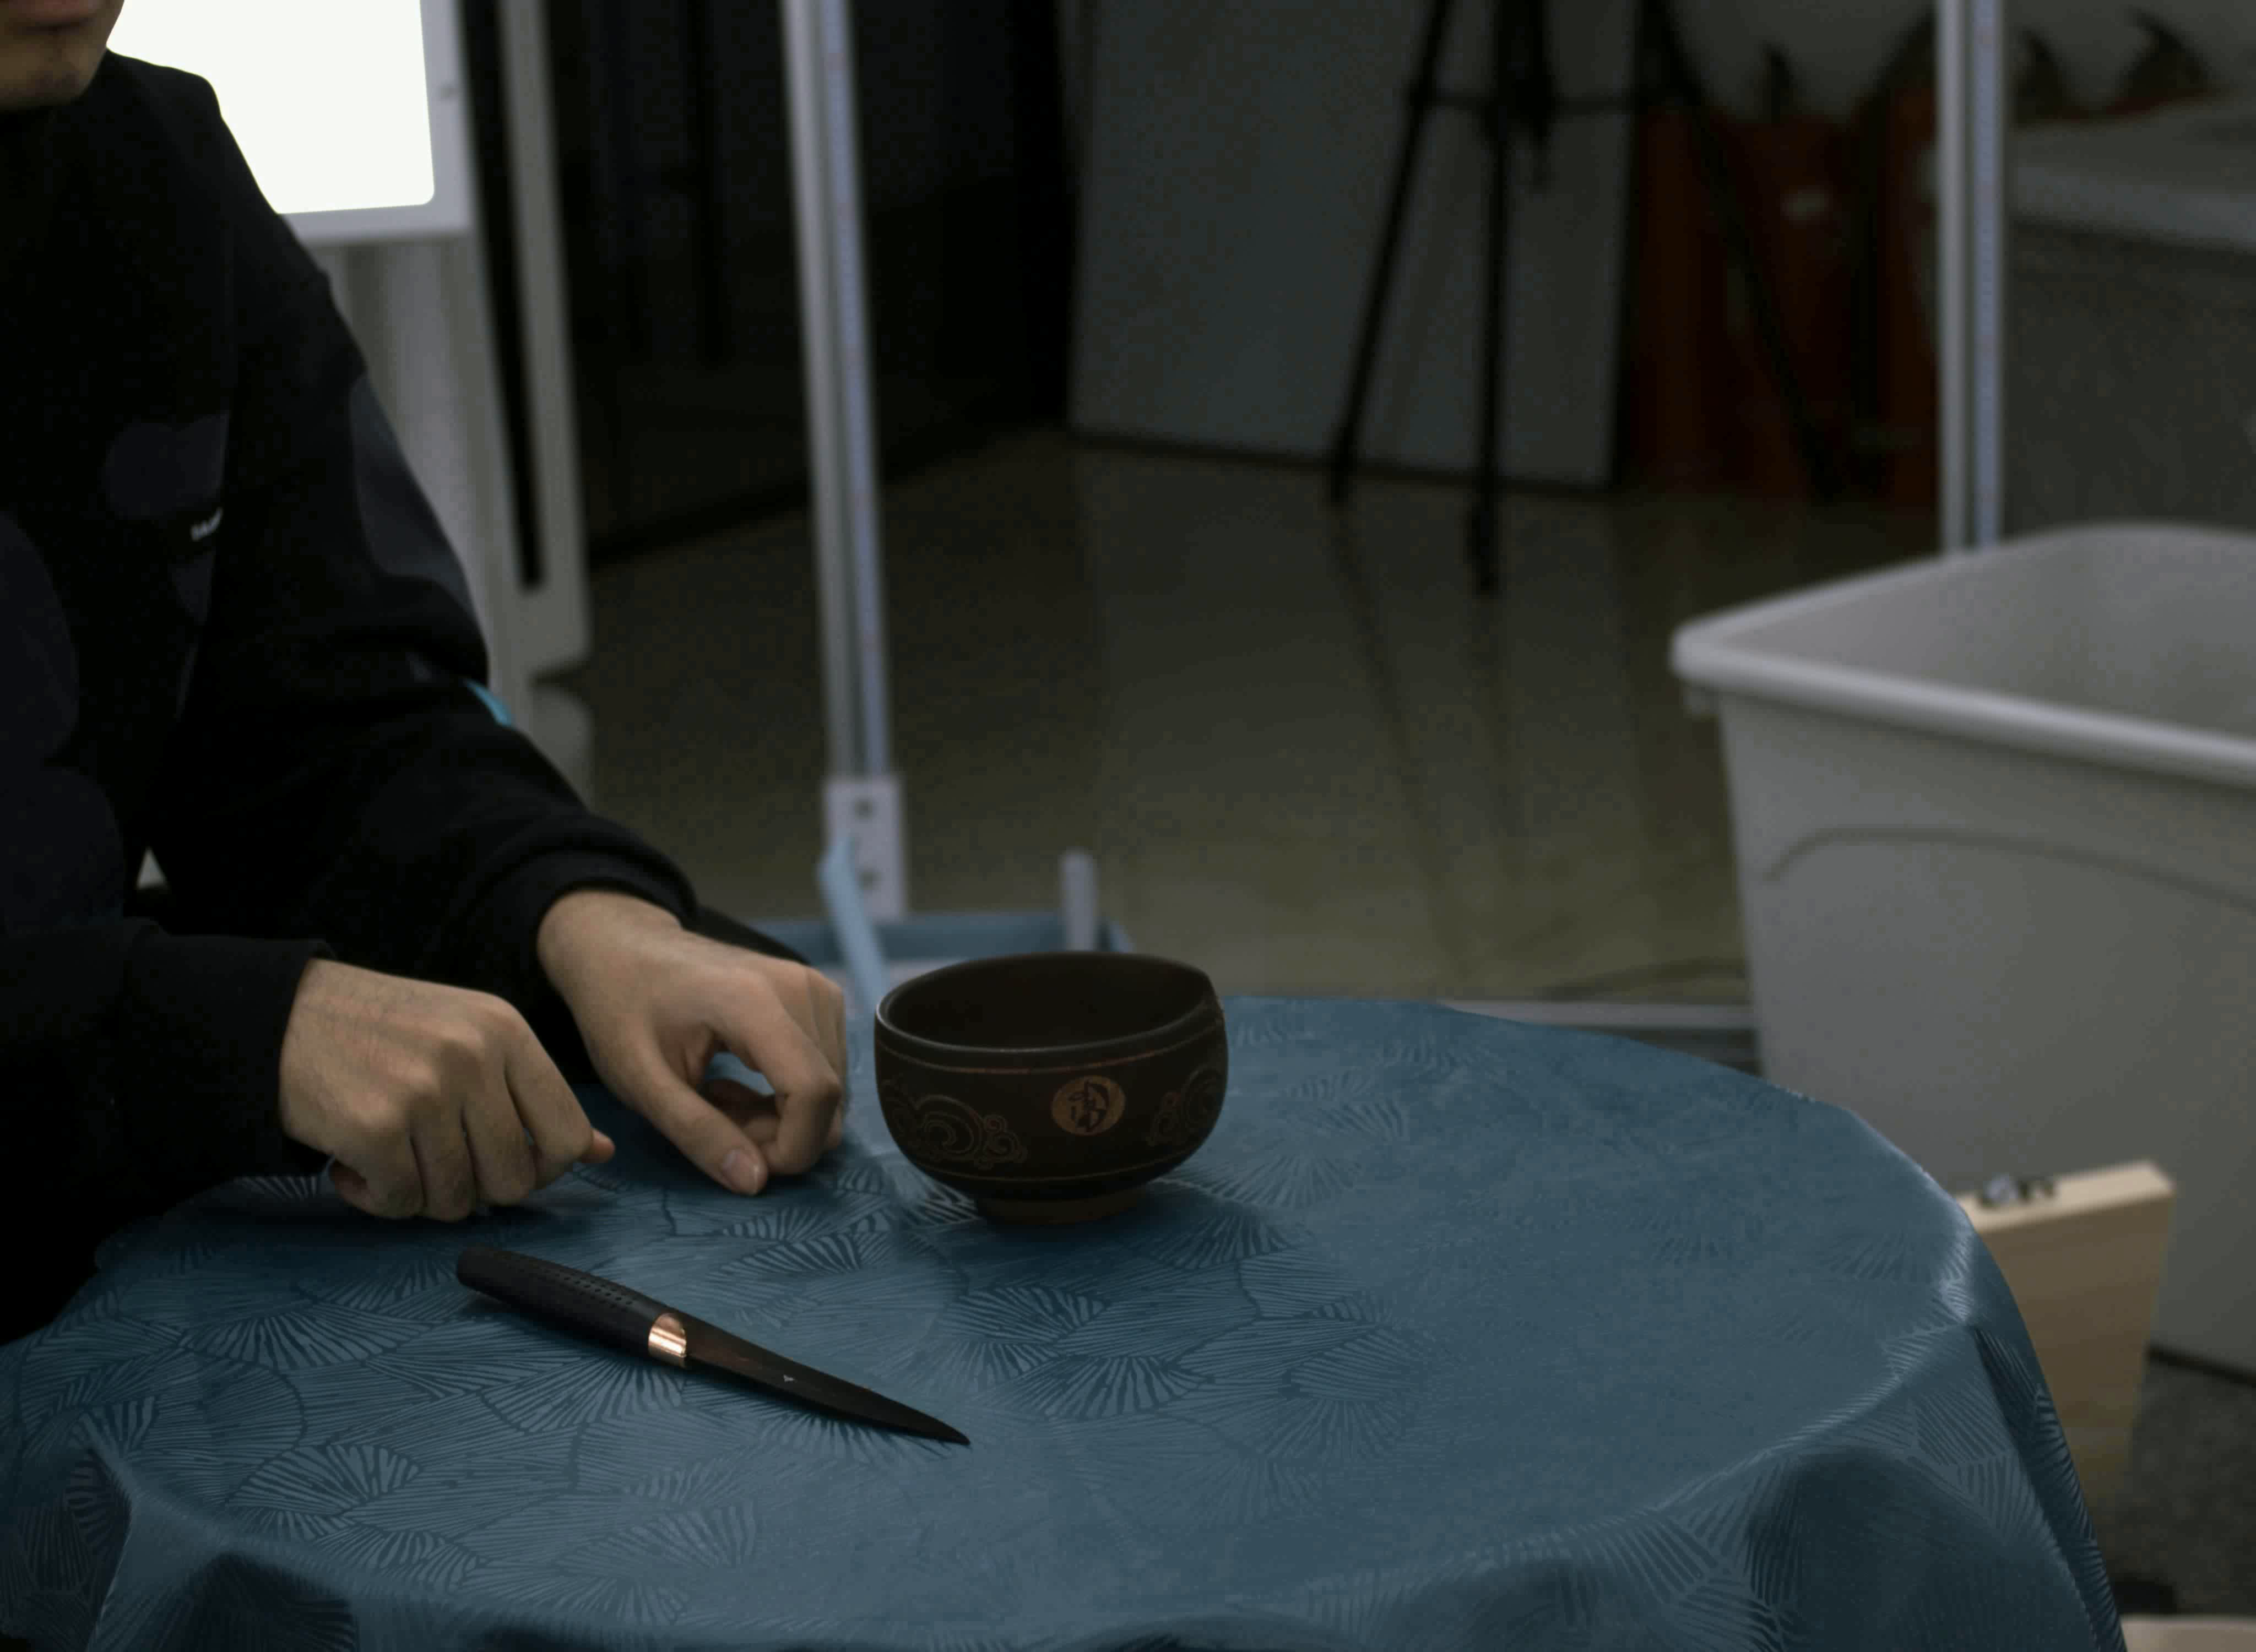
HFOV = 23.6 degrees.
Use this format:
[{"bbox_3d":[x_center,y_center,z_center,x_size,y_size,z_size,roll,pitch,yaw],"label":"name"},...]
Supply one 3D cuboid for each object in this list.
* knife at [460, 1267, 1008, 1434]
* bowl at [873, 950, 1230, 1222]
[{"bbox_3d":[-0.122,0.160,1.629,0.227,0.017,0.025,10,12,42],"label":"knife"},{"bbox_3d":[-0.024,0.088,1.757,0.116,0.070,0.118,-4,11,0],"label":"bowl"}]
